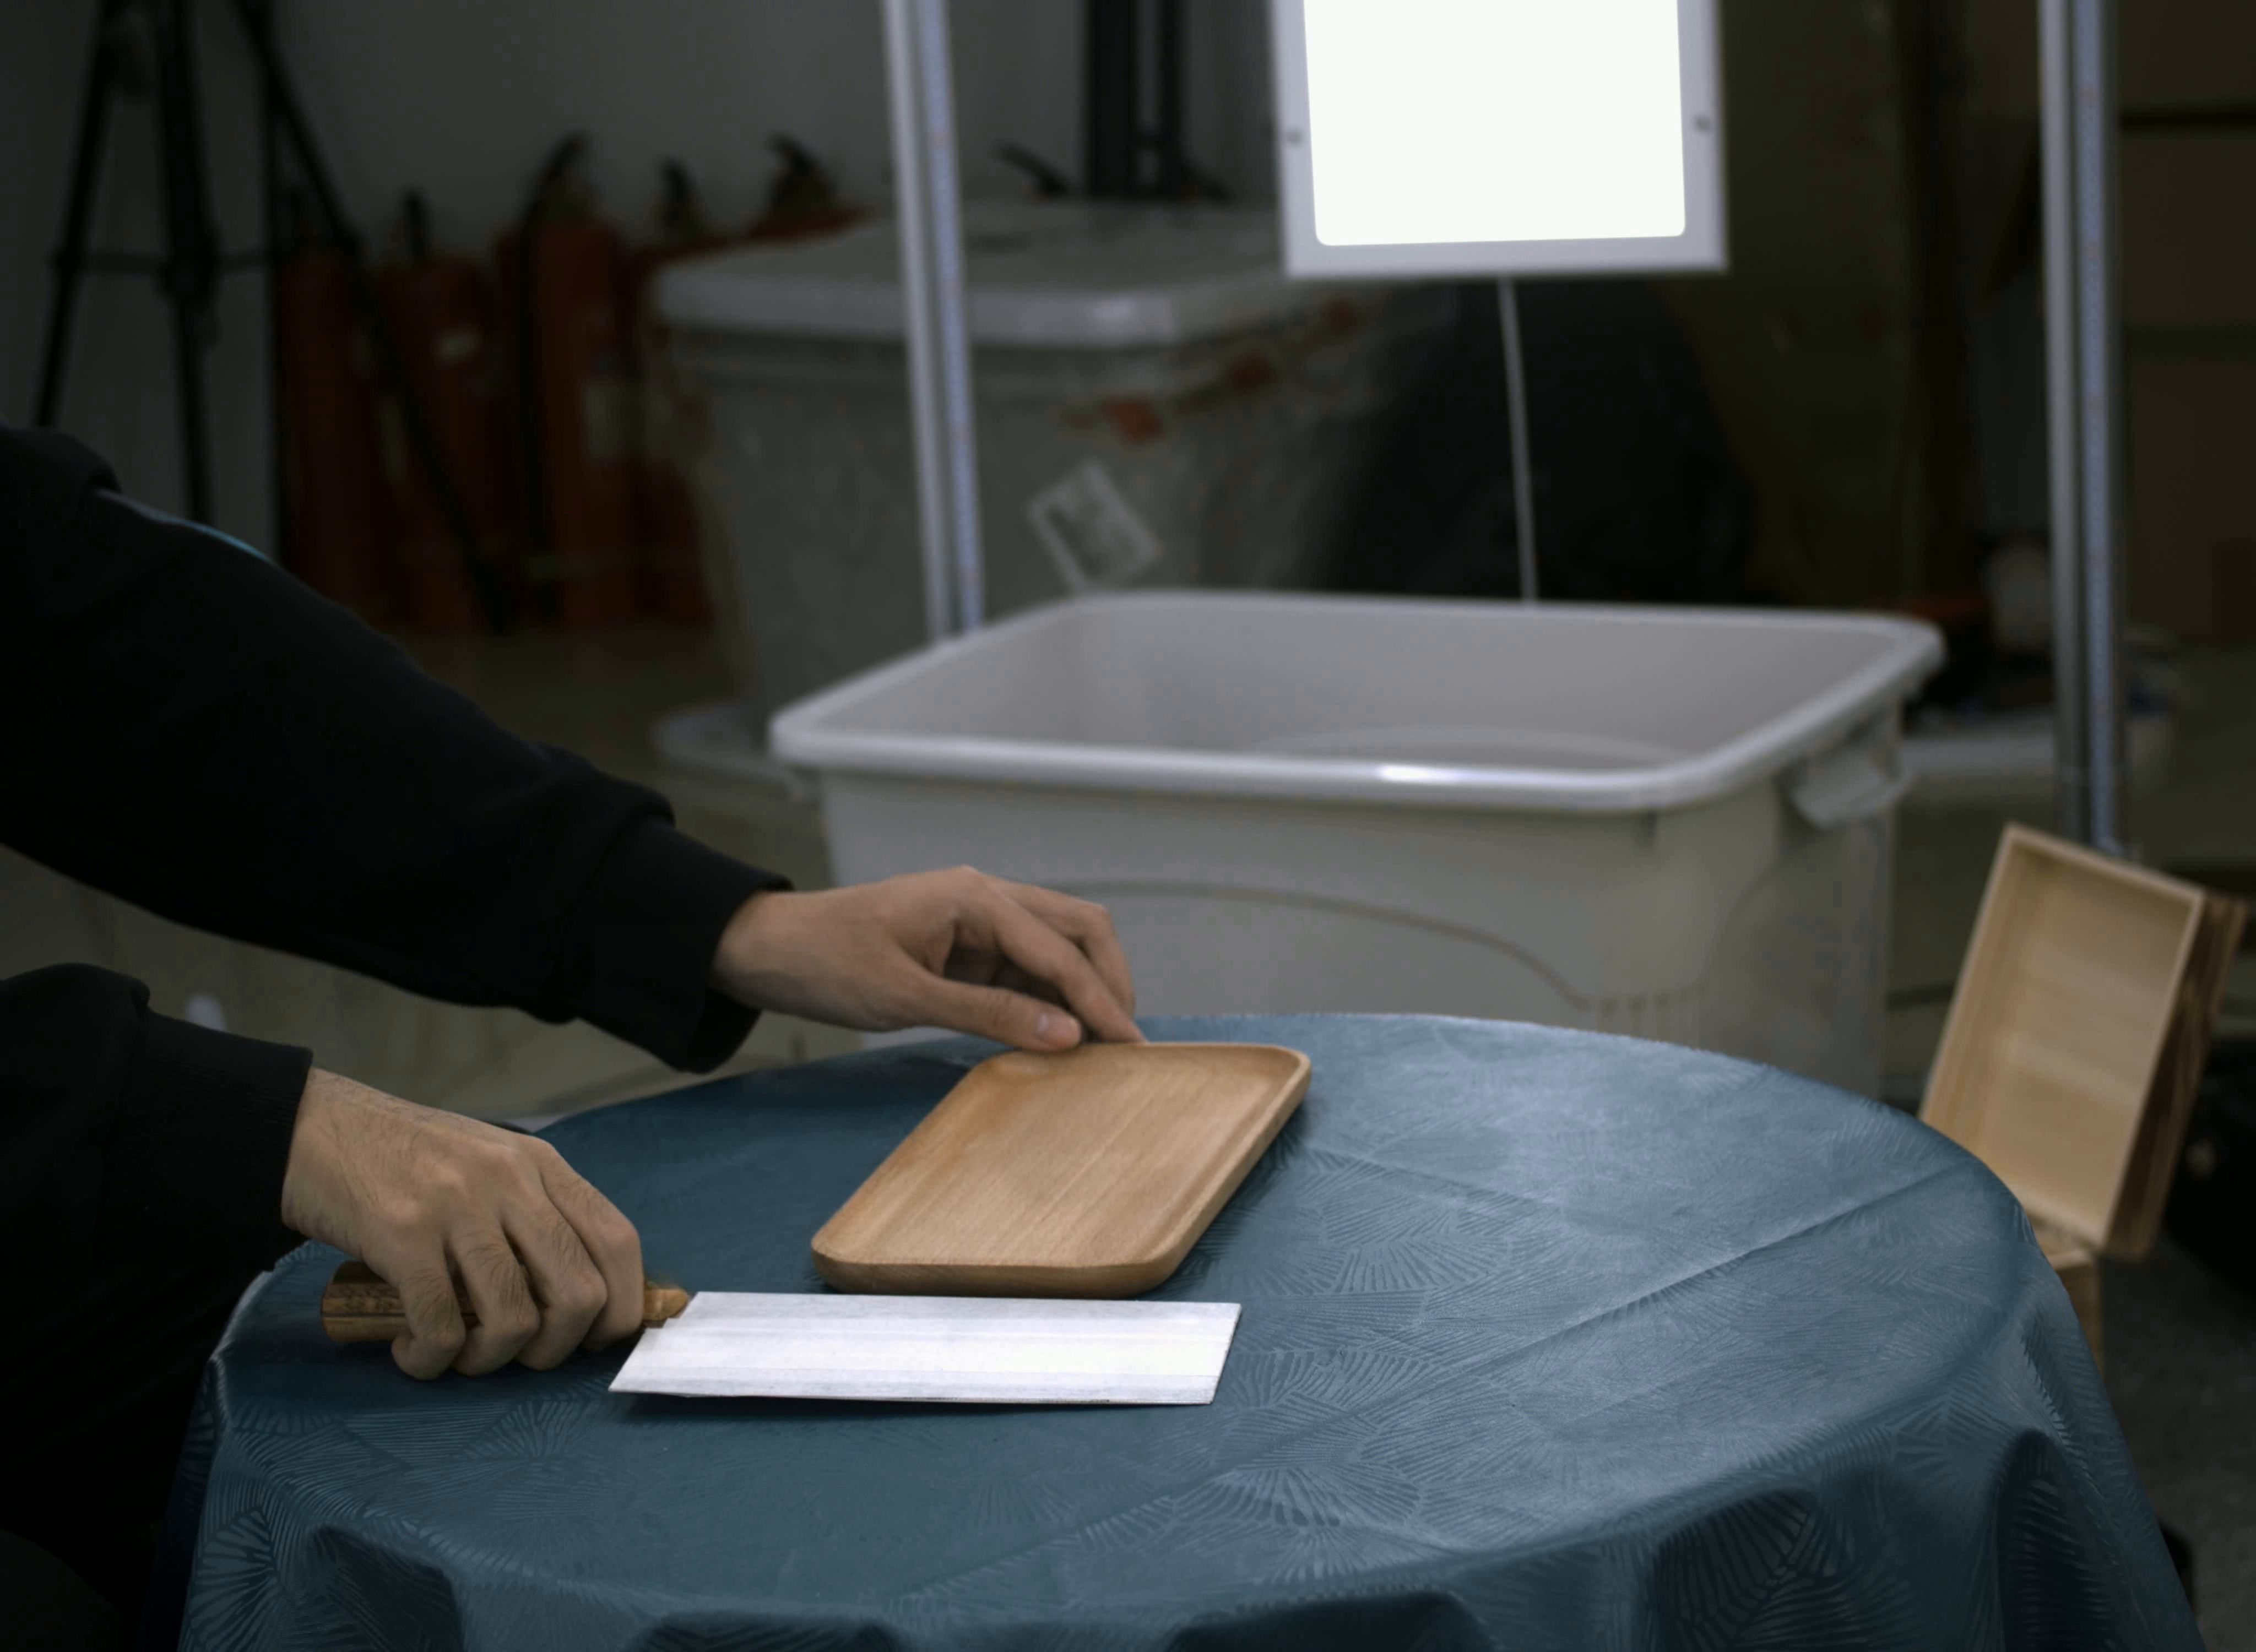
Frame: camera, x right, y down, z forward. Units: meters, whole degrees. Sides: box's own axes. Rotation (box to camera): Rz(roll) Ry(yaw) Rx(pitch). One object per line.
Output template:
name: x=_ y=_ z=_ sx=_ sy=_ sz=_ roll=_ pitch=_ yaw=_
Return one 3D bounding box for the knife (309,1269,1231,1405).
knife: x=-0.119 y=0.164 z=1.754 sx=0.307 sy=0.021 sz=0.092 roll=0 pitch=16 yaw=10

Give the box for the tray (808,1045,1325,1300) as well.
tray: x=-0.017 y=0.118 z=1.906 sx=0.132 sy=0.023 sz=0.247 roll=2 pitch=14 yaw=17
